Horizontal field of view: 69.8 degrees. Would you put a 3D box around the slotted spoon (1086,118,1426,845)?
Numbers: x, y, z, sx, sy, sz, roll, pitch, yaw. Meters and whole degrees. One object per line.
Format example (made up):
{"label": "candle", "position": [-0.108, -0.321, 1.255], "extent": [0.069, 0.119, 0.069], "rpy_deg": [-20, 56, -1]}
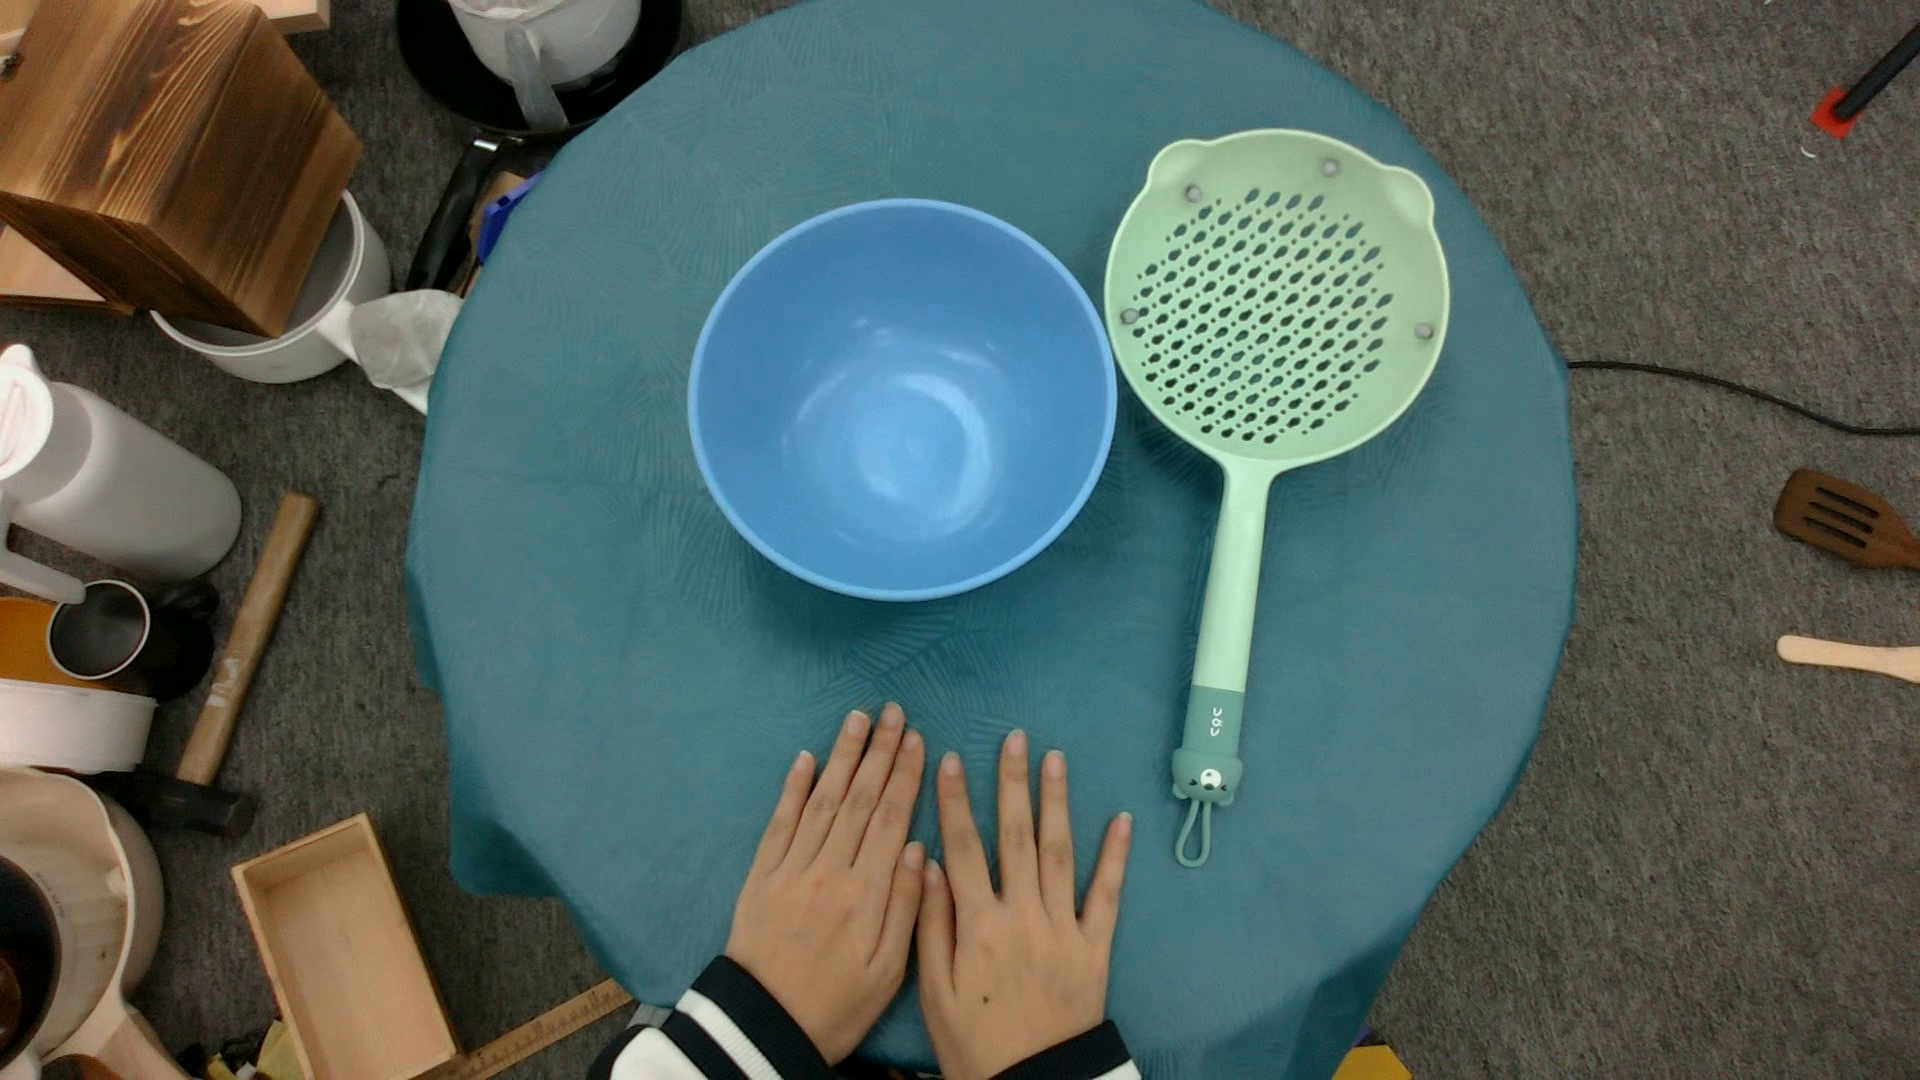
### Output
{"label": "slotted spoon", "position": [0.132, -0.031, 0.684], "extent": [0.169, 0.075, 0.359], "rpy_deg": [9, 76, 3]}

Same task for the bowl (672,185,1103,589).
{"label": "bowl", "position": [-0.033, -0.062, 0.671], "extent": [0.196, 0.095, 0.197], "rpy_deg": [0, 74, -1]}
